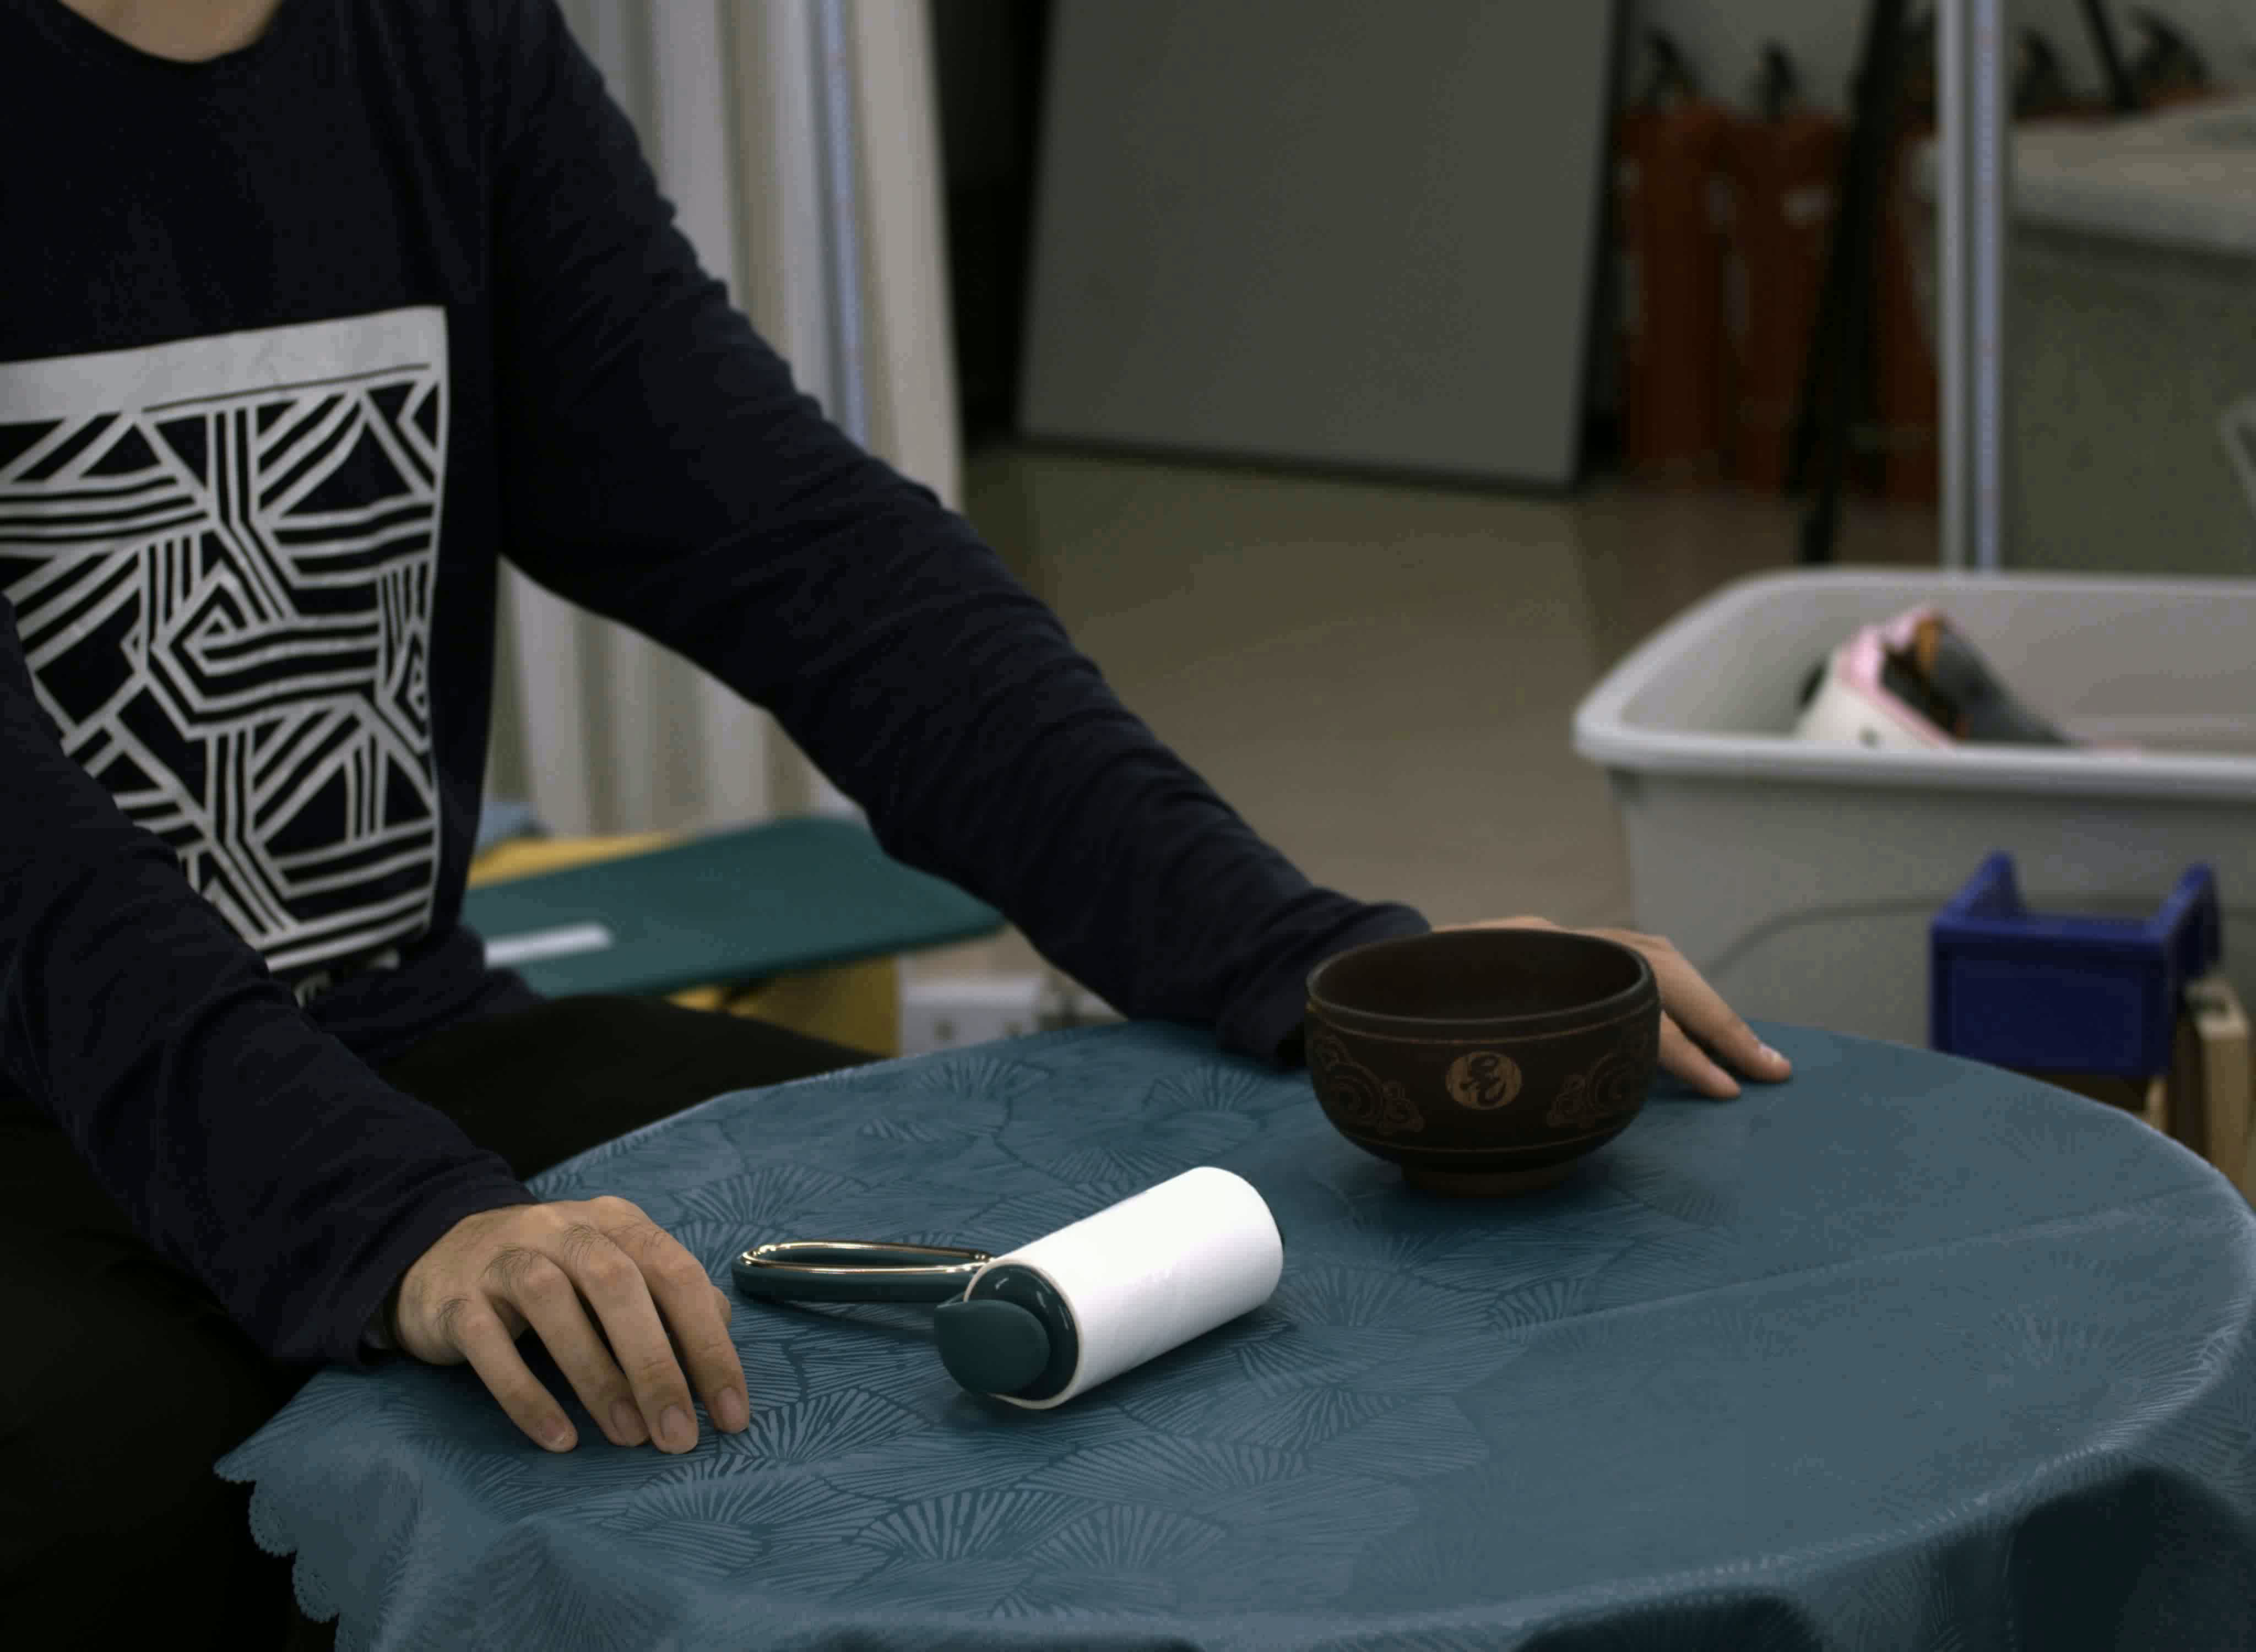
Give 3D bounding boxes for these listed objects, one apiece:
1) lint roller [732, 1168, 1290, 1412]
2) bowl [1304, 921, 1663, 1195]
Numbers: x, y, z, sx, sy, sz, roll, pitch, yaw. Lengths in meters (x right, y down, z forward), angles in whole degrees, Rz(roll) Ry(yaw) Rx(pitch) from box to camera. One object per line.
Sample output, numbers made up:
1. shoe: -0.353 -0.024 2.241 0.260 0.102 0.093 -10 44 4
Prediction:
1. lint roller: -0.054 0.135 1.650 0.181 0.049 0.132 3 15 39
2. bowl: 0.118 0.079 1.759 0.116 0.070 0.118 -6 13 1
